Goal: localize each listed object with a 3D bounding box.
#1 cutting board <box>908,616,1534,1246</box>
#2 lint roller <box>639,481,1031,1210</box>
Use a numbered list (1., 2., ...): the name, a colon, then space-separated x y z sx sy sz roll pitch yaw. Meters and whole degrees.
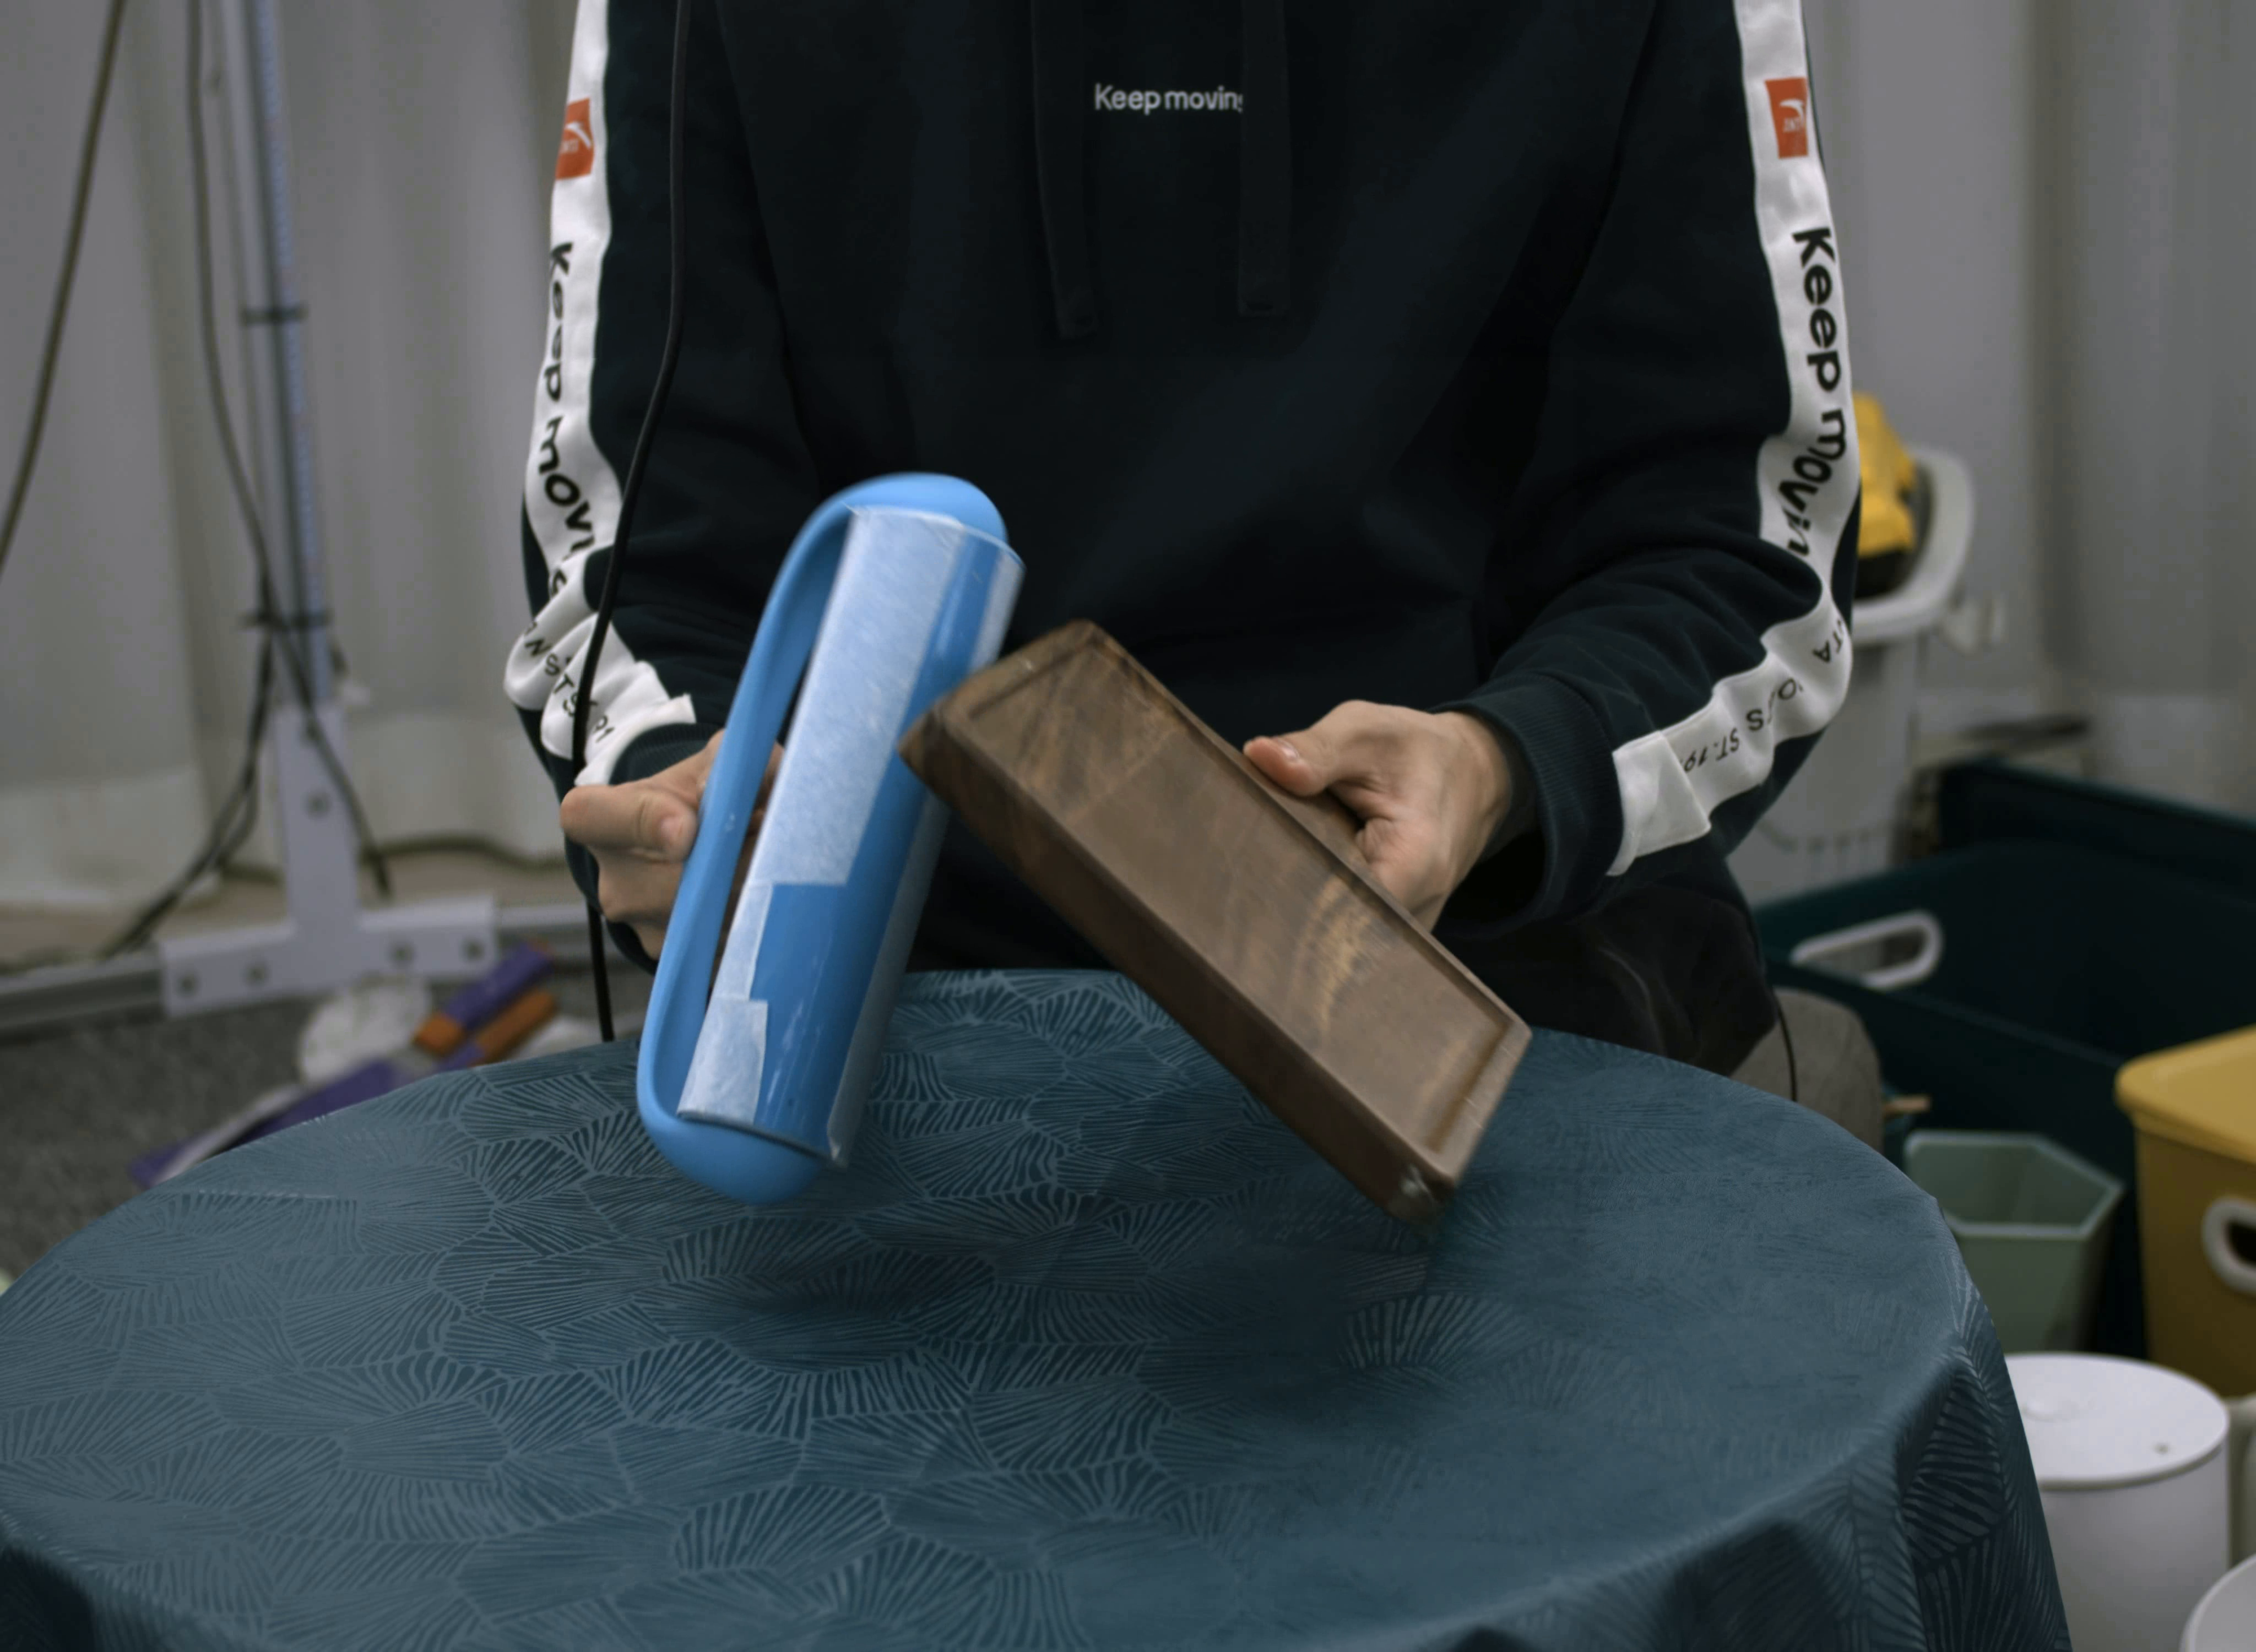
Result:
1. cutting board: 0.041 0.017 1.647 0.201 0.023 0.353 43 12 1
2. lint roller: -0.103 0.012 1.692 0.067 0.231 0.180 20 -15 -17
